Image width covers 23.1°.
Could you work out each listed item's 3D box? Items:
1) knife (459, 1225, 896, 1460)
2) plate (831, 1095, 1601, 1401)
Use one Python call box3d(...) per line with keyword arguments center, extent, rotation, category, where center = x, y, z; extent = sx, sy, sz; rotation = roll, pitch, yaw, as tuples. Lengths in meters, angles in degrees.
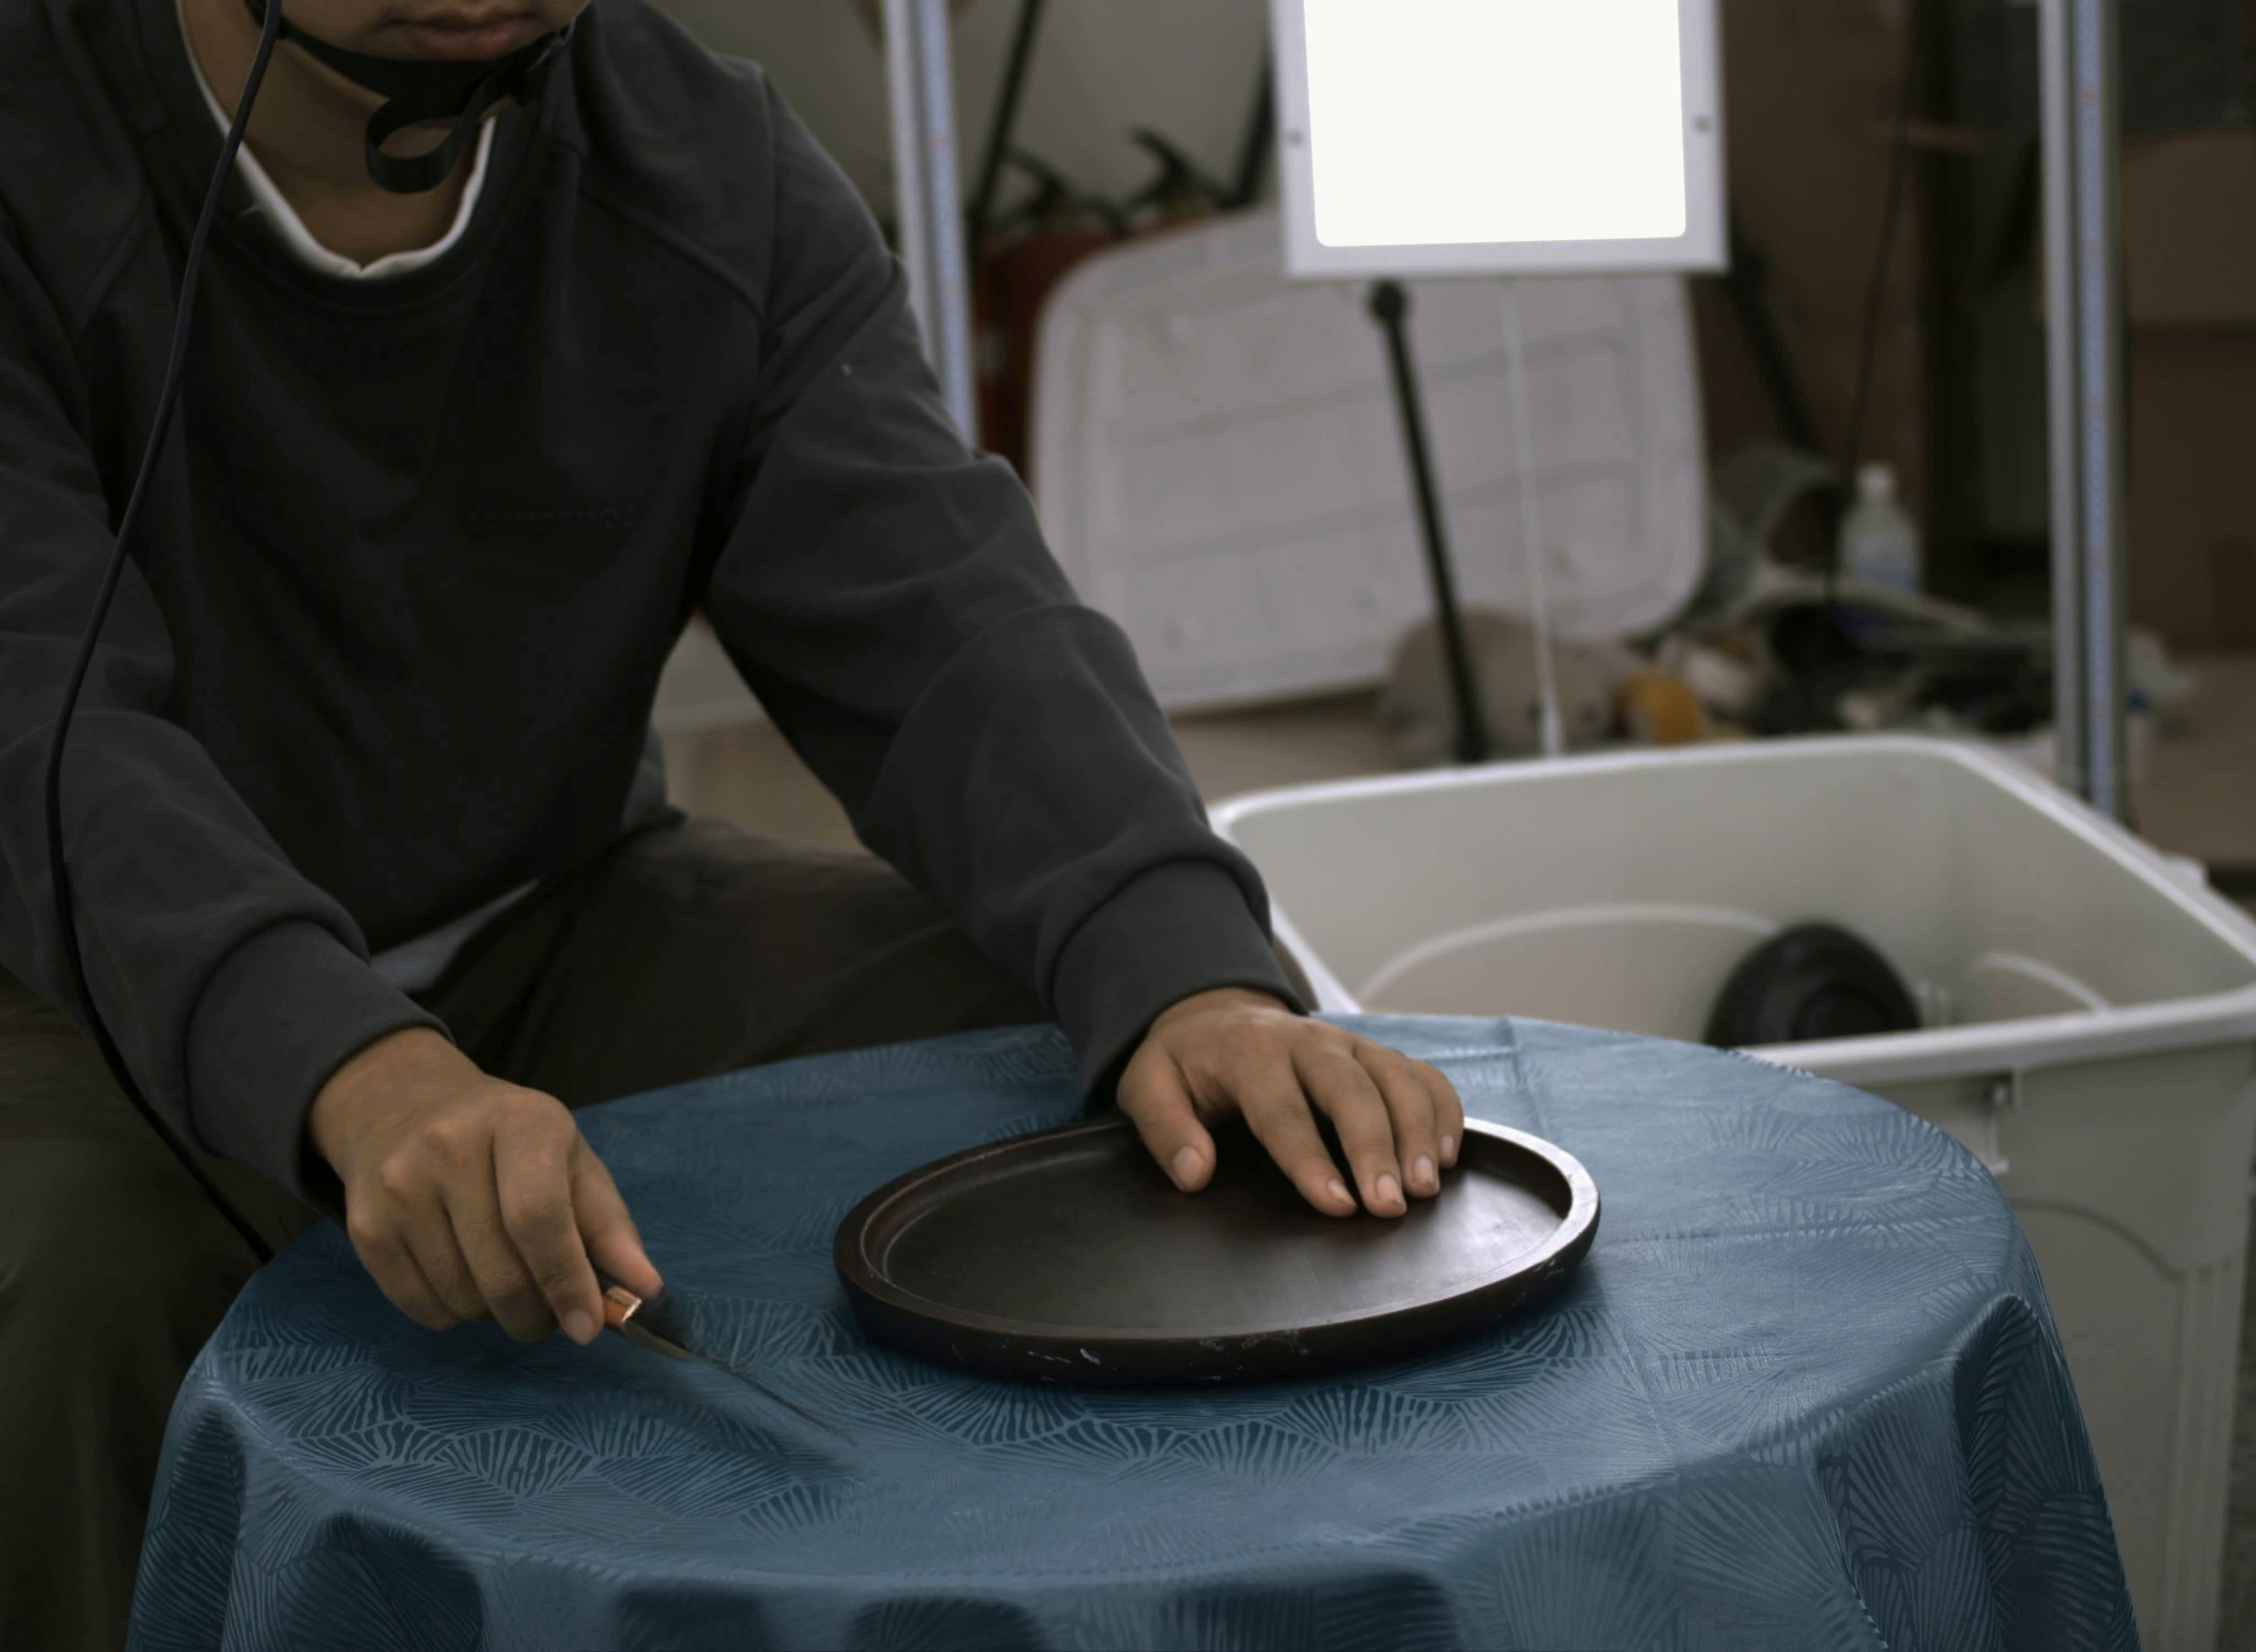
box3d(center=(-0.144, 0.161, 1.728), extent=(0.230, 0.017, 0.026), rotation=(19, -16, 50), category="knife")
box3d(center=(0.029, 0.136, 1.801), extent=(0.254, 0.029, 0.254), rotation=(-7, 13, 0), category="plate")
